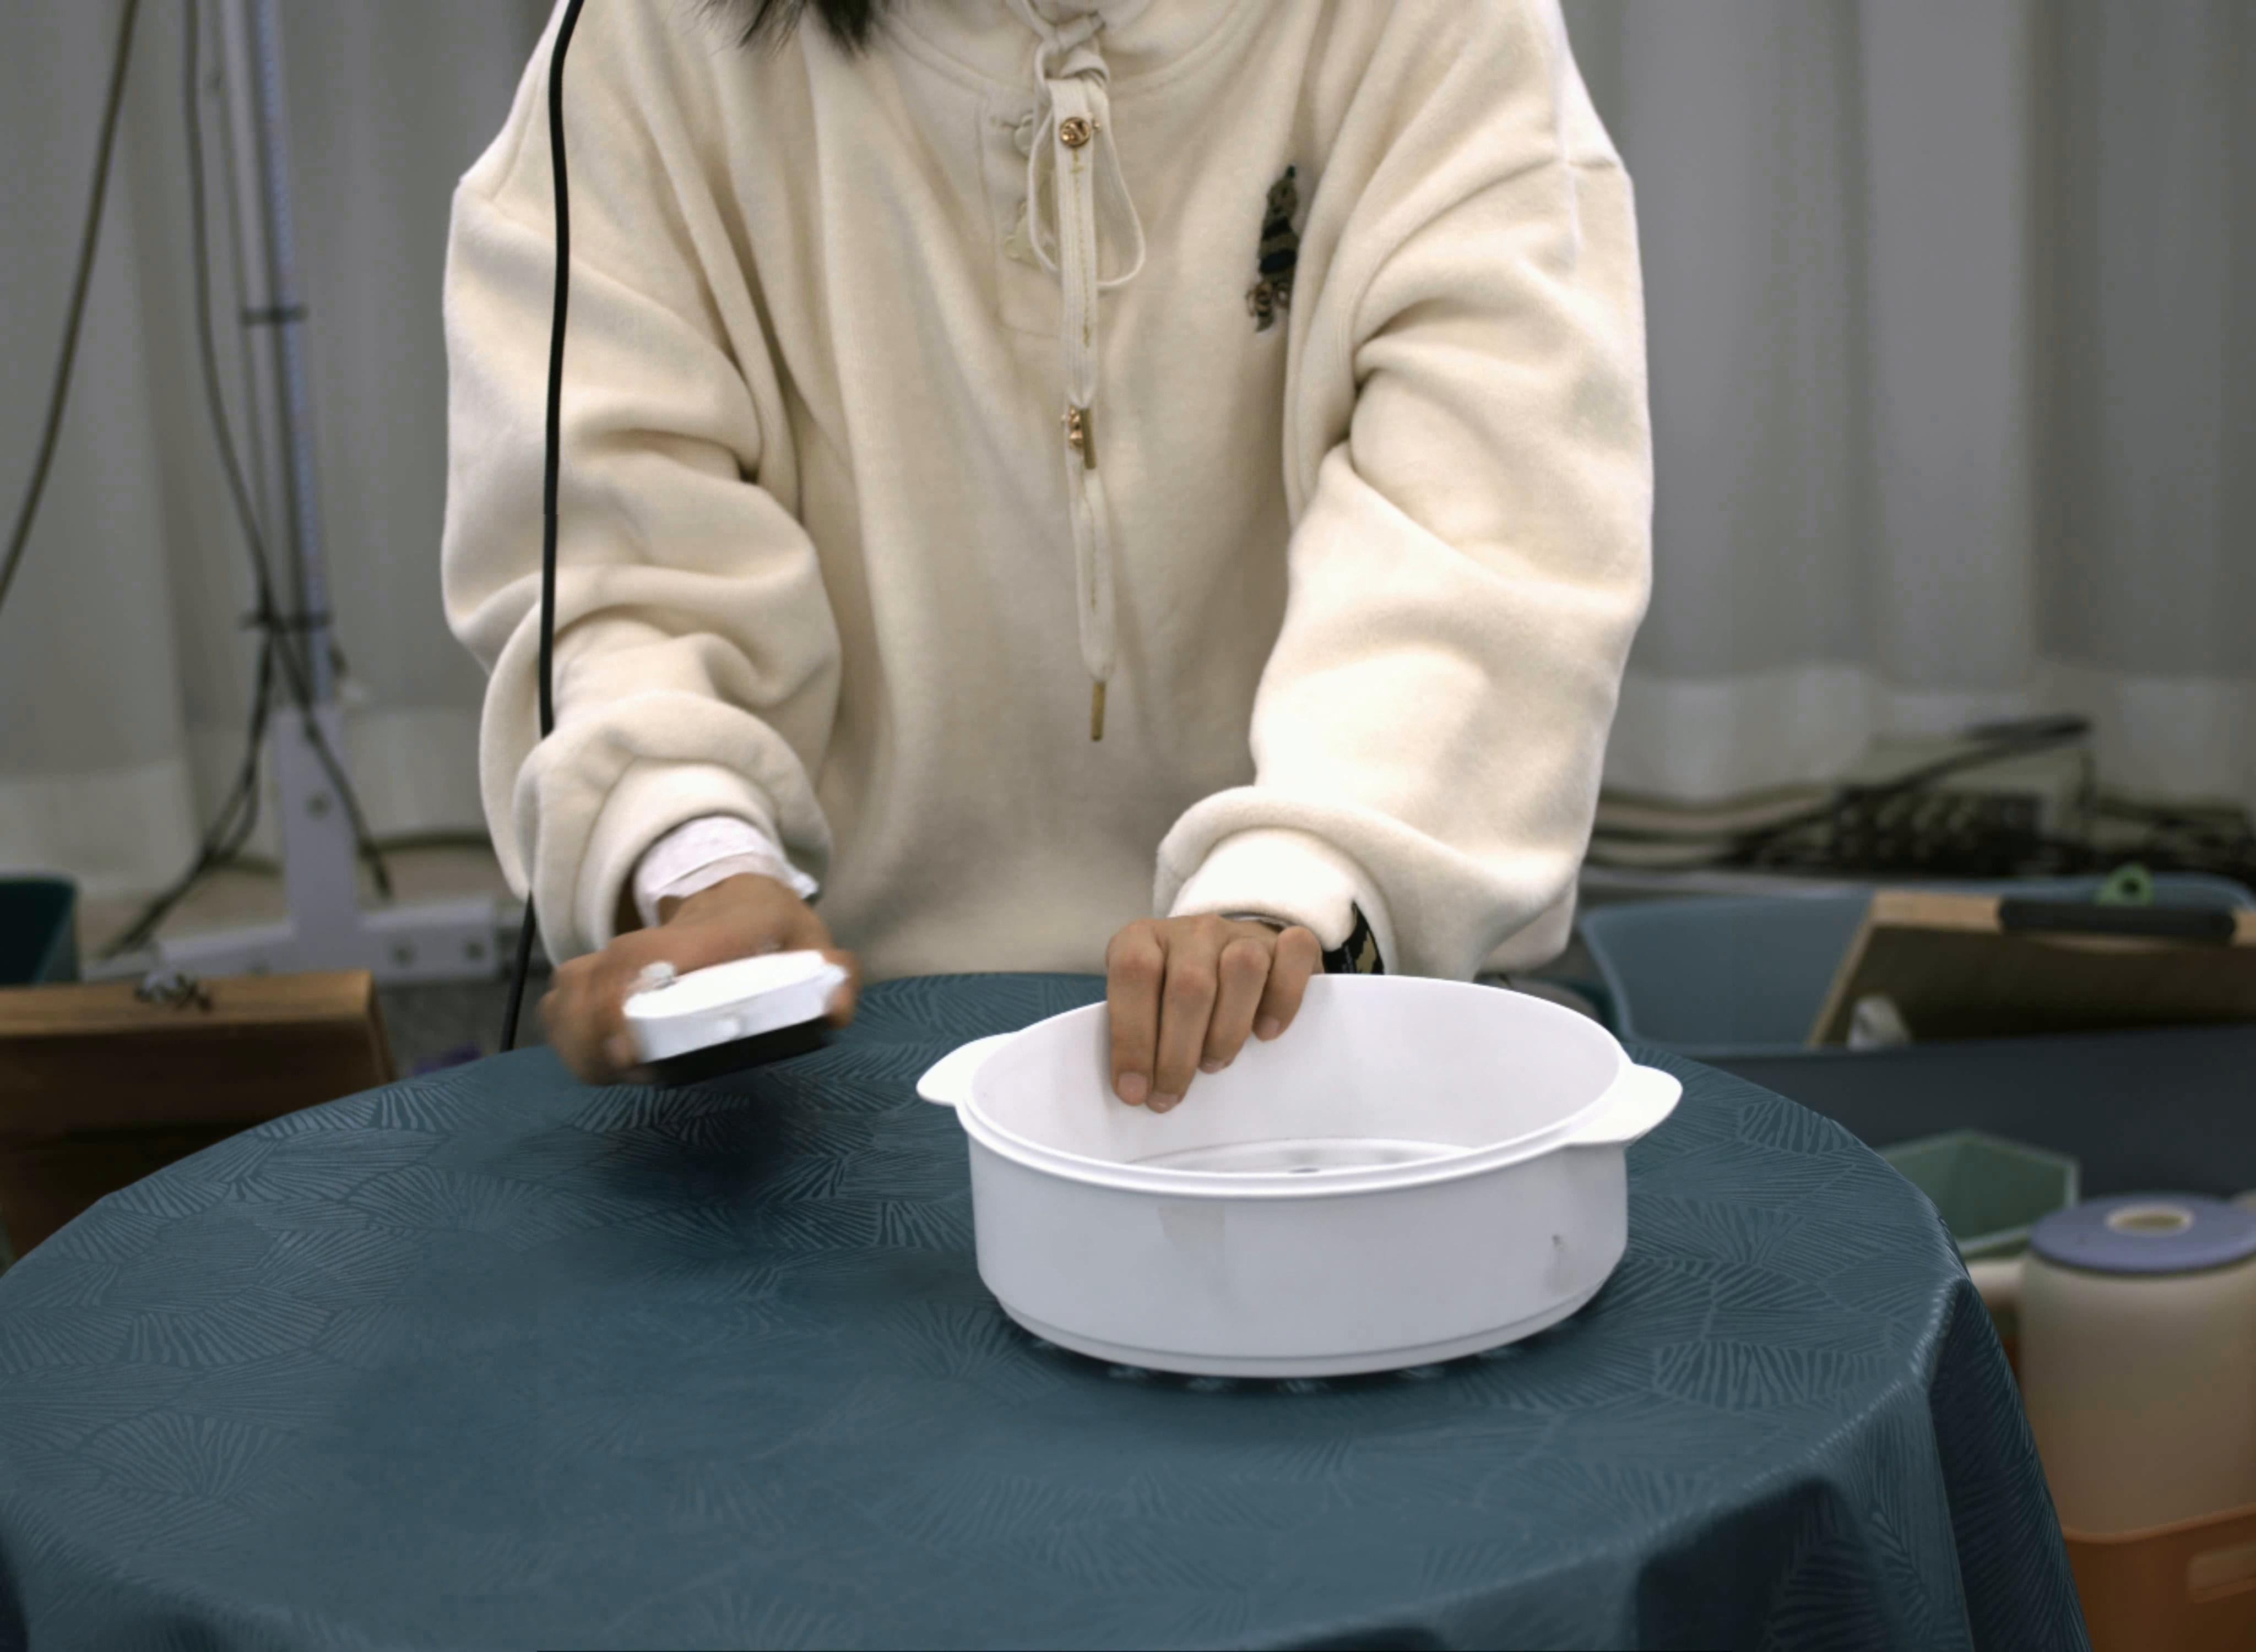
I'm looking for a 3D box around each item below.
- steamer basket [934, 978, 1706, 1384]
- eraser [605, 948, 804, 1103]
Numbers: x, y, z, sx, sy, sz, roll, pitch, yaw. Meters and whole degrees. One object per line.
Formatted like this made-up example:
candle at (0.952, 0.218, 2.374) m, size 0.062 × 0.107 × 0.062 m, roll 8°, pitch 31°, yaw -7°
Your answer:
steamer basket at (0.056, 0.104, 1.614) m, size 0.230 × 0.069 × 0.202 m, roll 3°, pitch 16°, yaw 20°
eraser at (-0.131, 0.063, 1.728) m, size 0.063 × 0.034 × 0.131 m, roll -14°, pitch 1°, yaw -3°
